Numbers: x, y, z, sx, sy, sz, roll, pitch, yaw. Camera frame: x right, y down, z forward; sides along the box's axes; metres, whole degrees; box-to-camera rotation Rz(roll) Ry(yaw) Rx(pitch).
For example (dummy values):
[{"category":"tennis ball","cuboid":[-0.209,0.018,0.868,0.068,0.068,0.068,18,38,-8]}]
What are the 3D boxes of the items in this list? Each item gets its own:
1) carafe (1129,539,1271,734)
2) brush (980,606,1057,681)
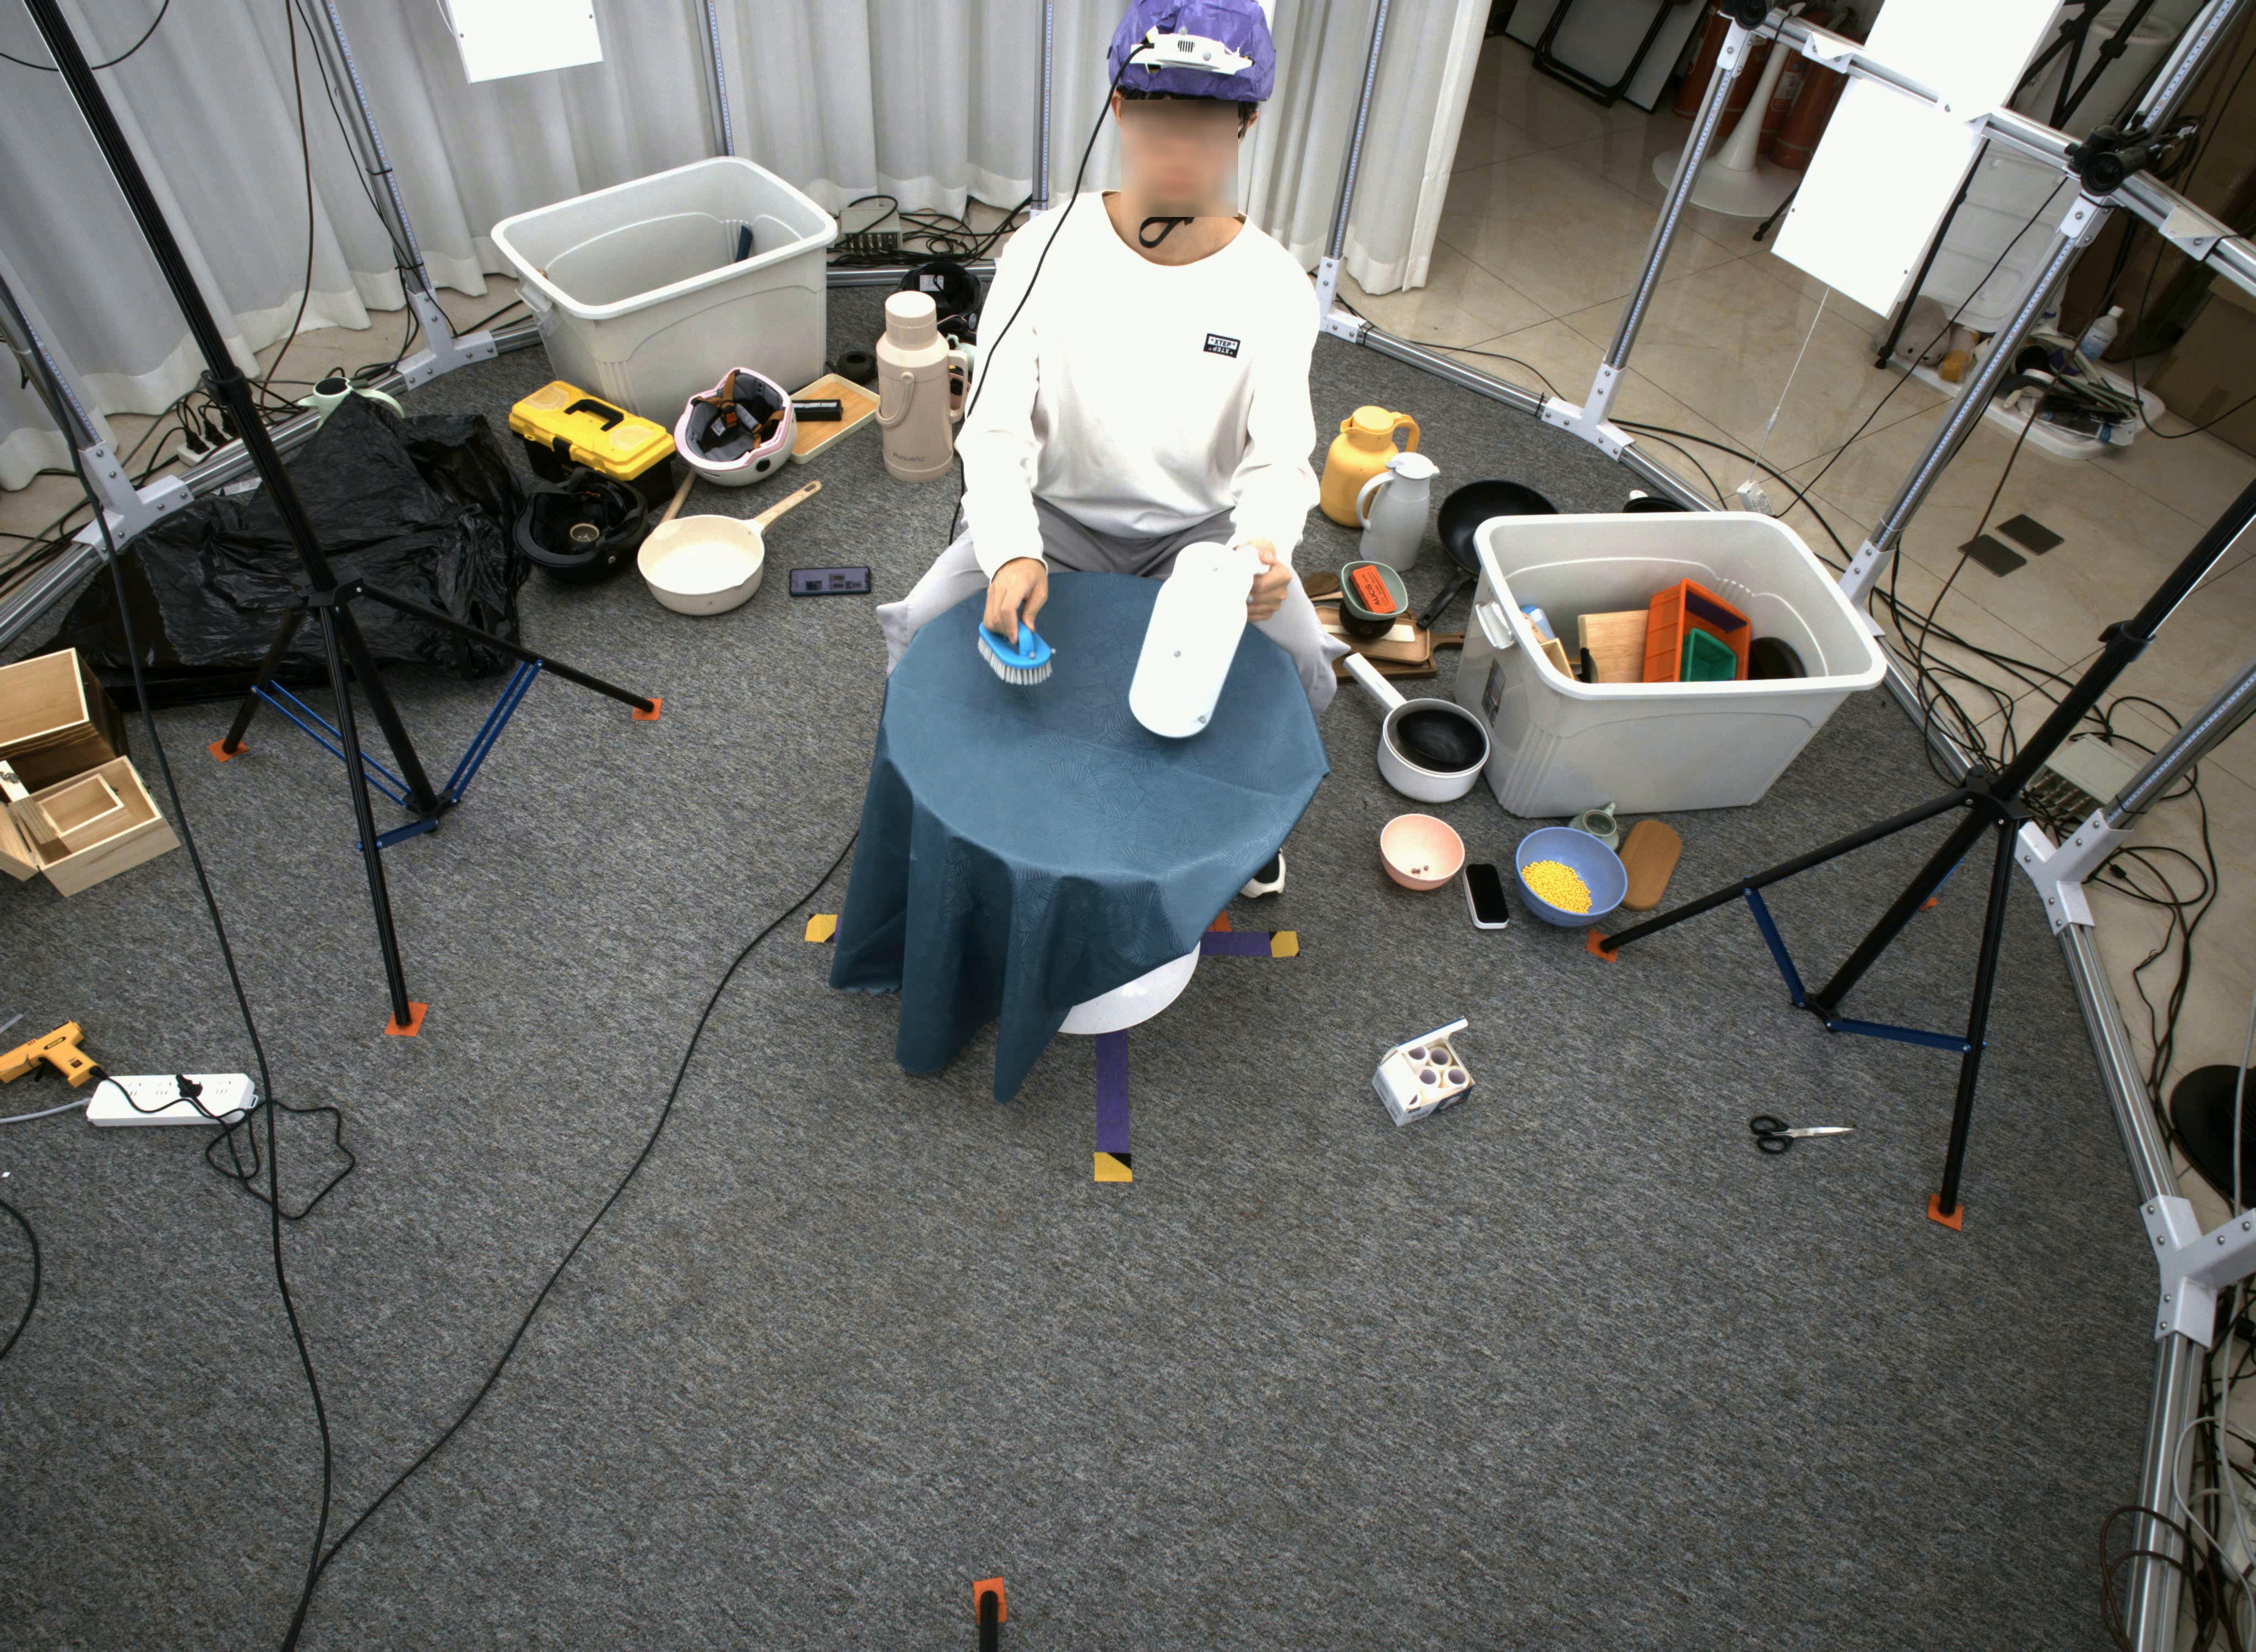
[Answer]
[{"category":"carafe","cuboid":[0.093,-0.251,1.676,0.174,0.263,0.125,-34,66,-31]},{"category":"brush","cuboid":[-0.152,-0.259,1.757,0.084,0.062,0.145,-16,40,-18]}]
